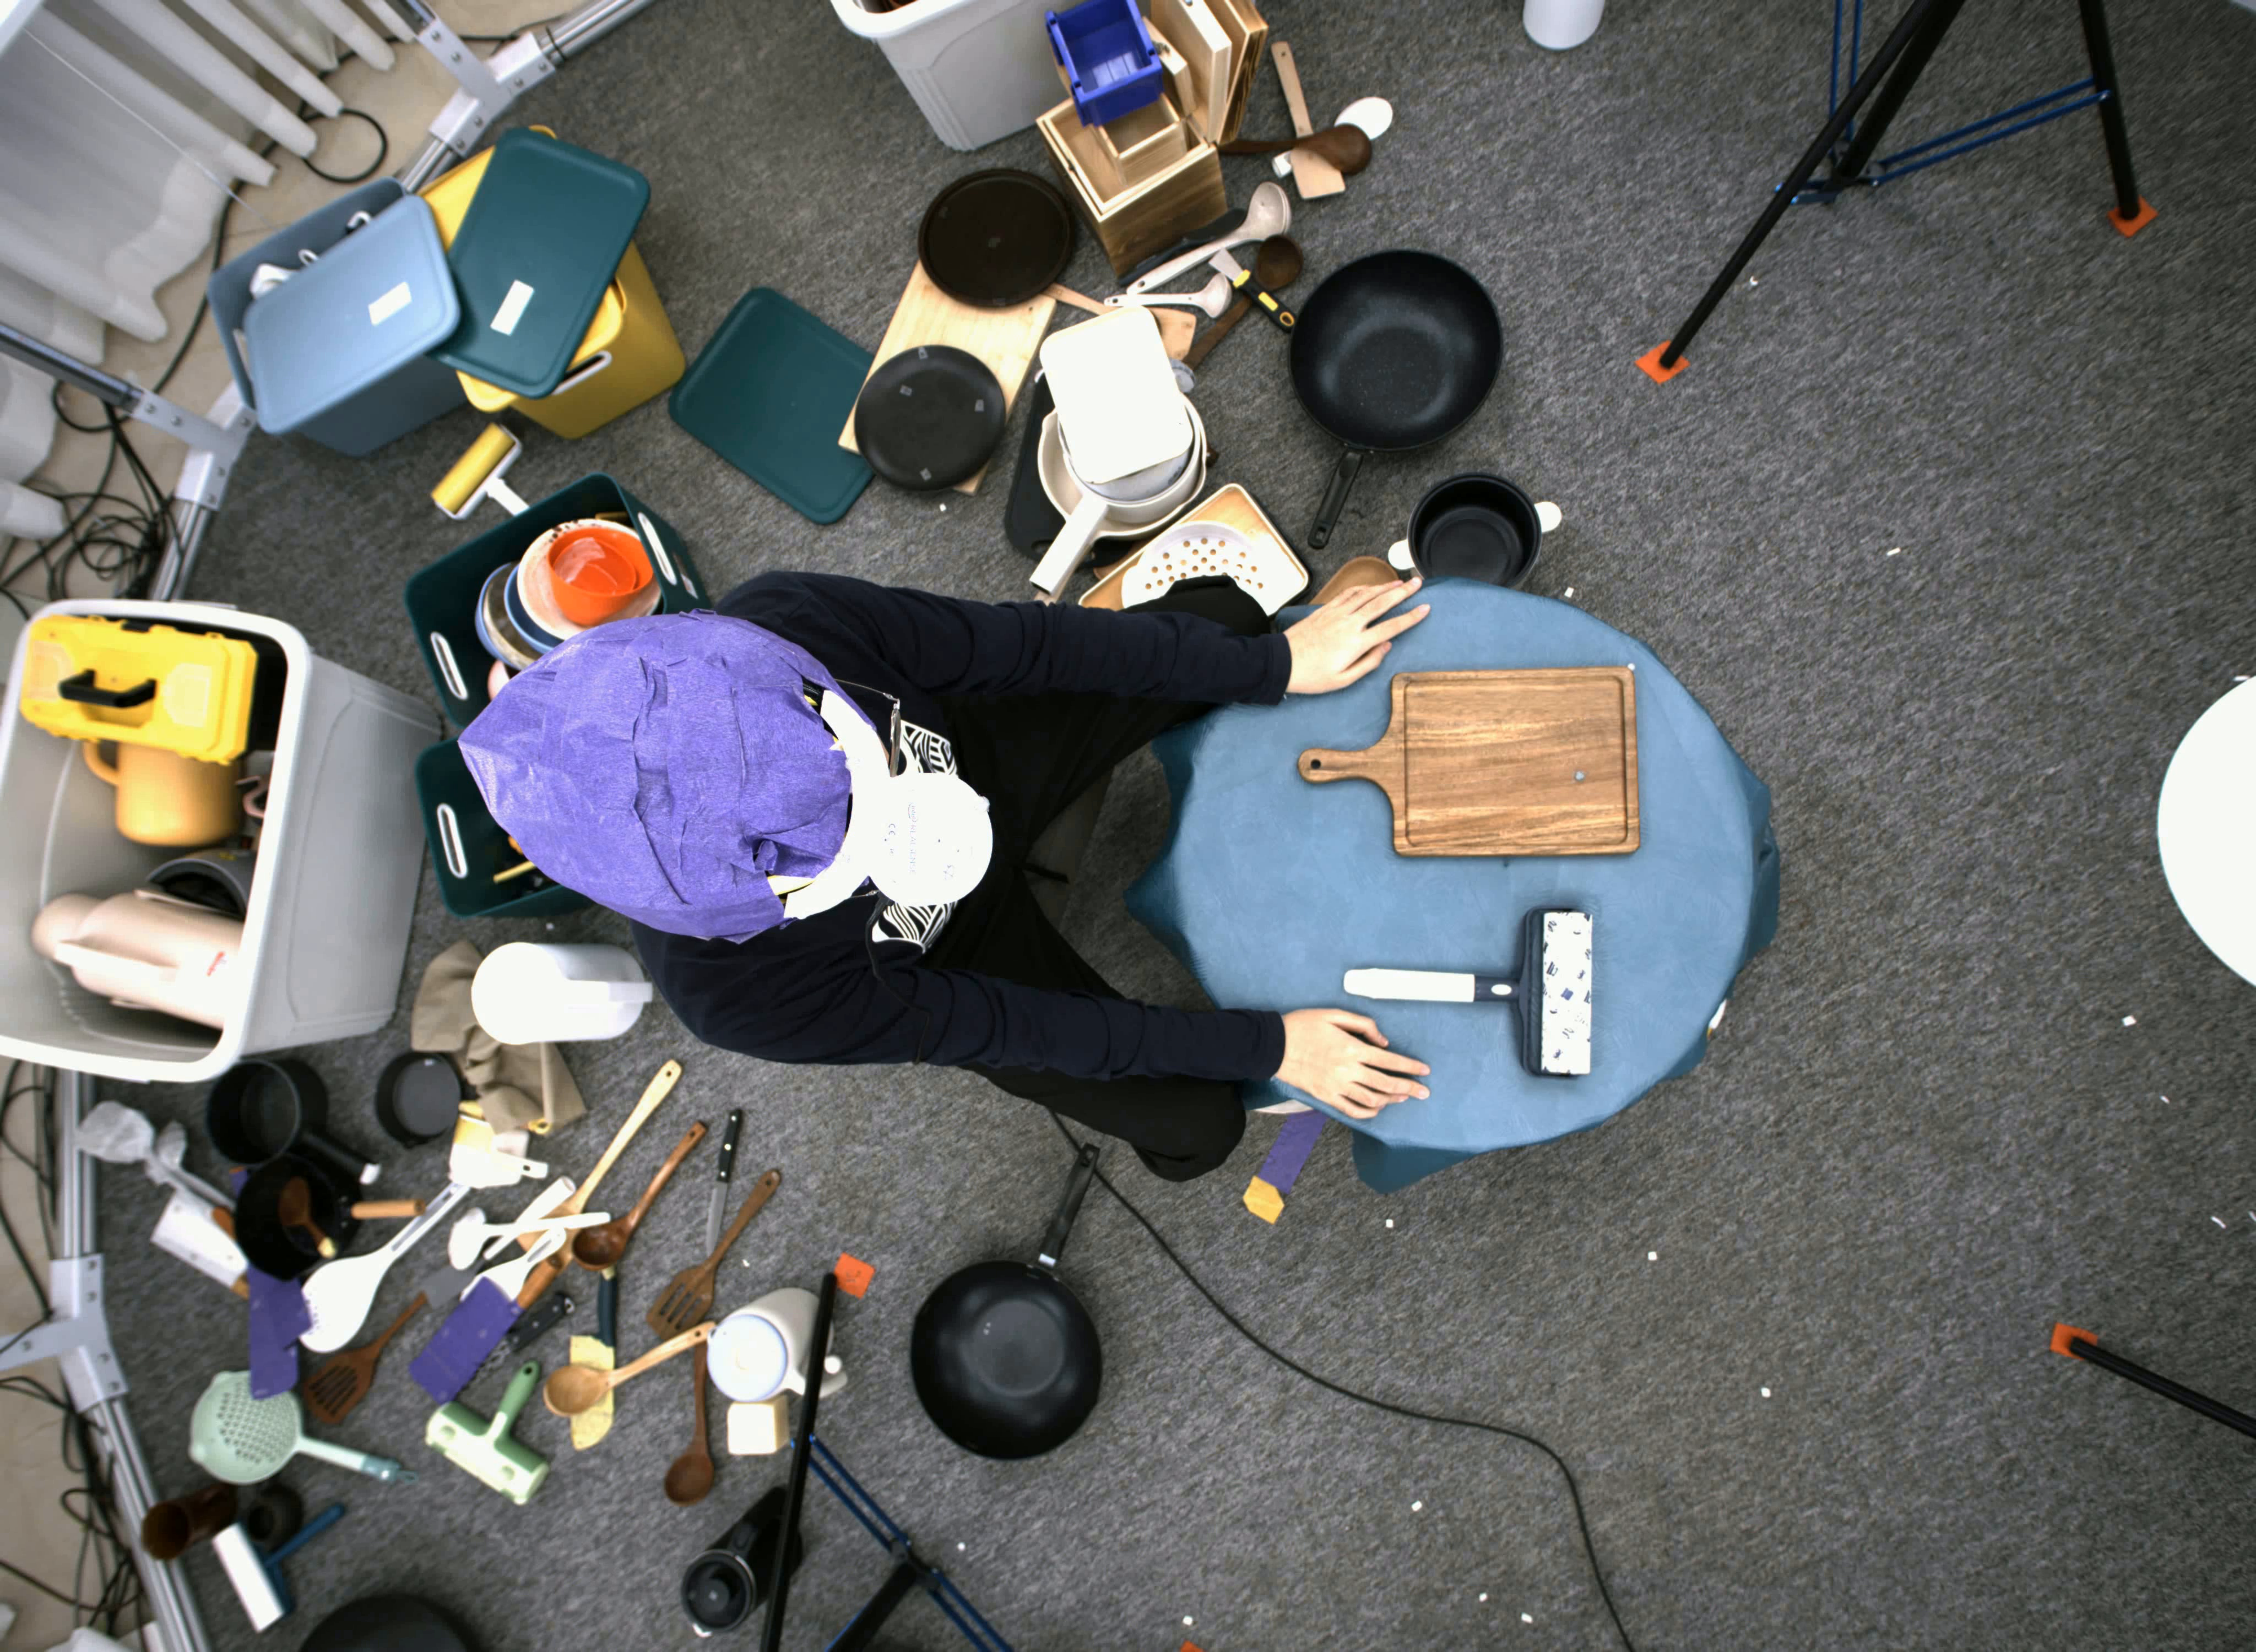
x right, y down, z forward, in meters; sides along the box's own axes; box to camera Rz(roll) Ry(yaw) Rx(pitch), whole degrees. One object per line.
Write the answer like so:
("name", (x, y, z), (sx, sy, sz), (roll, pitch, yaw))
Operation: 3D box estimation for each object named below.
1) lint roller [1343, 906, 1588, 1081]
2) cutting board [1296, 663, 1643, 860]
("lint roller", (0.345, 0.166, 1.419), (0.248, 0.050, 0.175), (0, 88, 12))
("cutting board", (0.353, -0.068, 1.441), (0.353, 0.023, 0.200), (-2, 86, 10))
